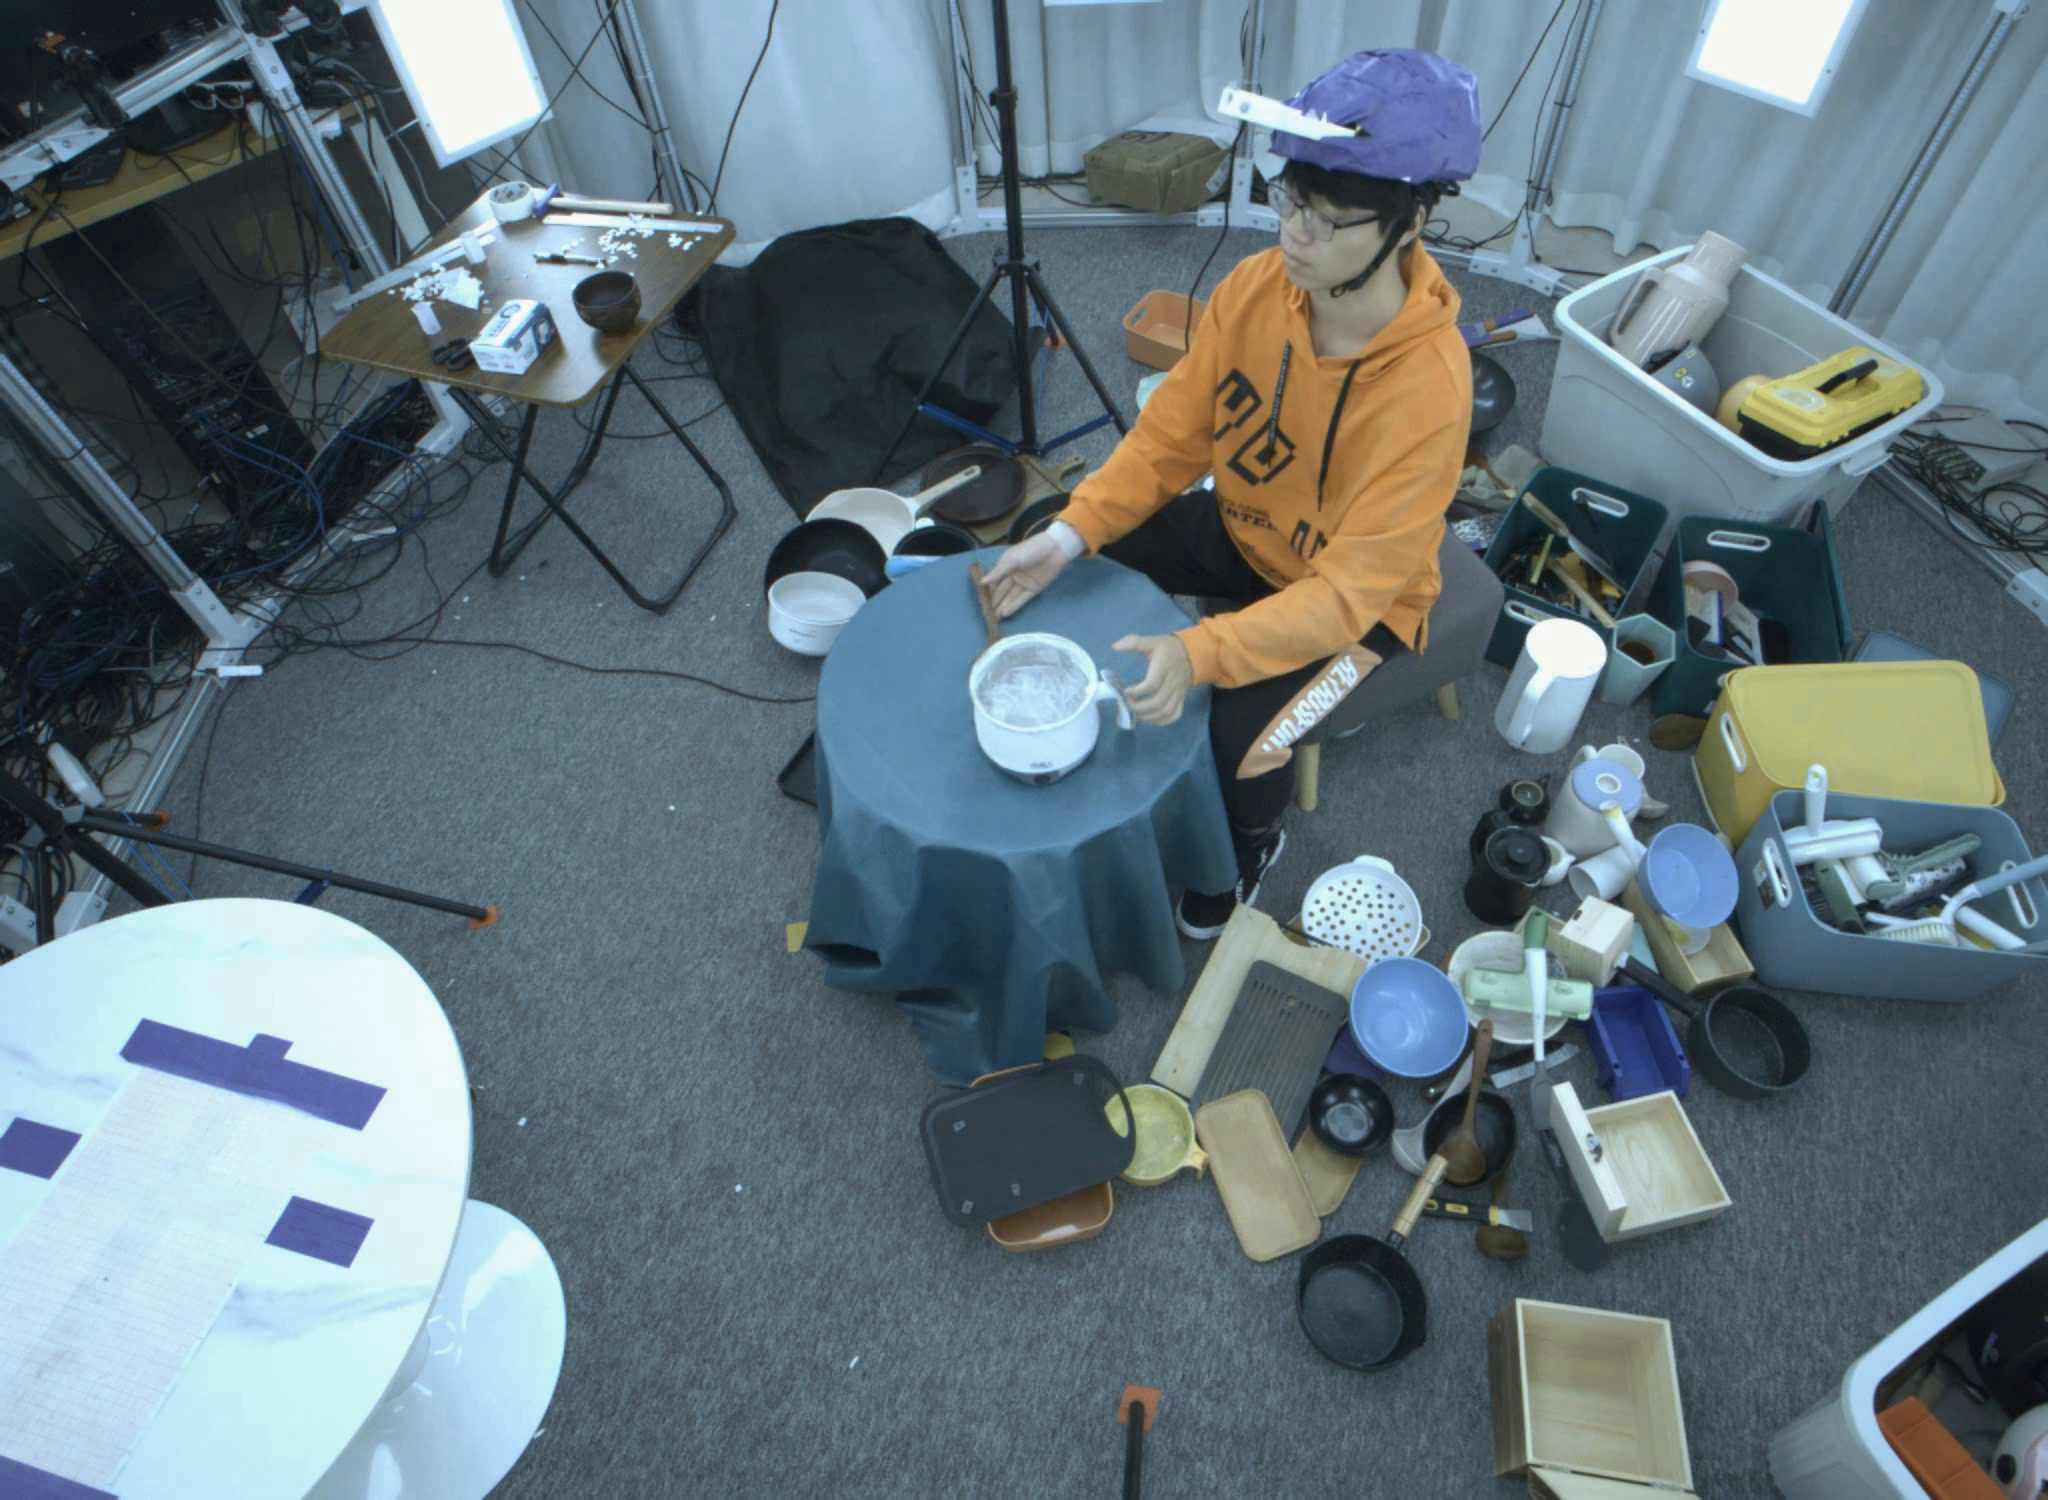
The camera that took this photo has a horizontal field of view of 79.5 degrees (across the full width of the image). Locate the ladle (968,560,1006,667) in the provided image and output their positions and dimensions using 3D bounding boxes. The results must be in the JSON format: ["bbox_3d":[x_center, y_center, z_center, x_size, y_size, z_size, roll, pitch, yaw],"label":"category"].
[{"bbox_3d":[-0.059,-0.220,1.905,0.077,0.066,0.256,-10,56,-5],"label":"ladle"}]

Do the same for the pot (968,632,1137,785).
[{"bbox_3d":[0.043,-0.061,1.744,0.234,0.138,0.176,-7,55,-2],"label":"pot"}]
